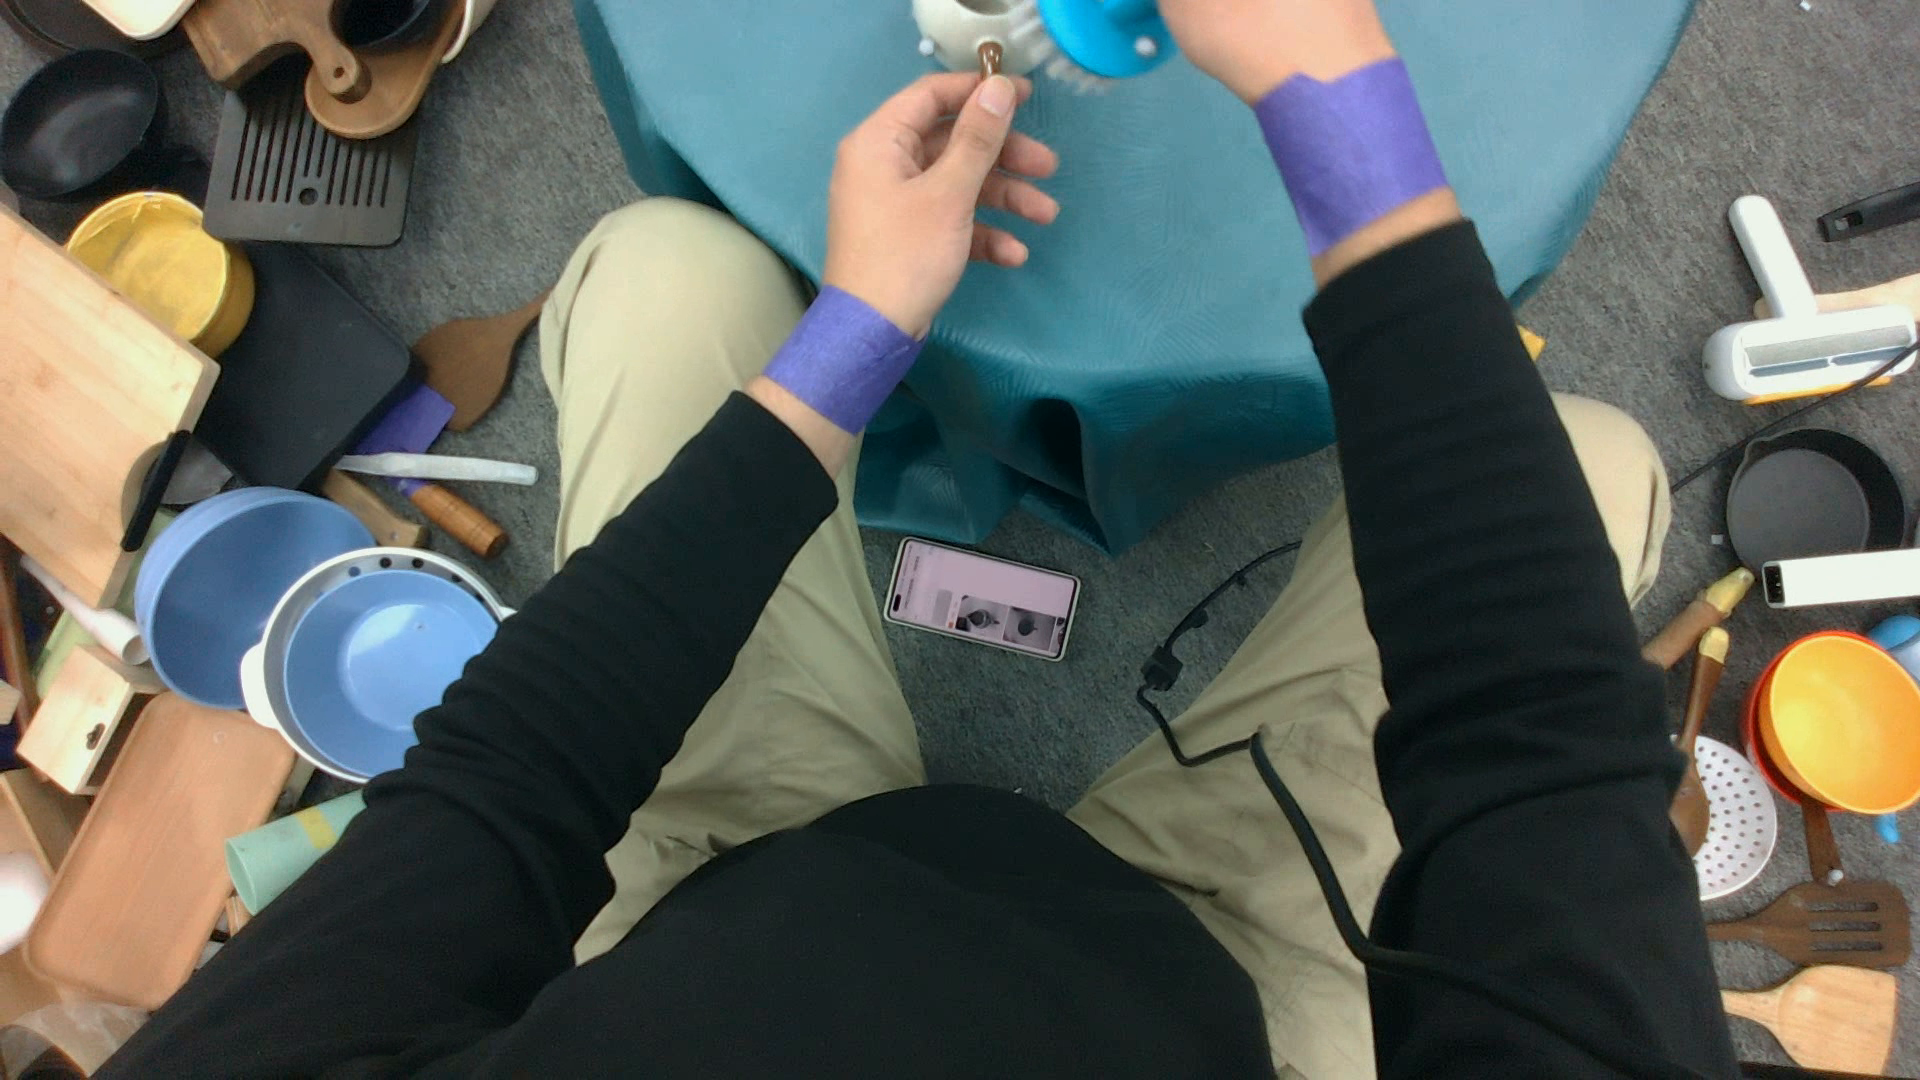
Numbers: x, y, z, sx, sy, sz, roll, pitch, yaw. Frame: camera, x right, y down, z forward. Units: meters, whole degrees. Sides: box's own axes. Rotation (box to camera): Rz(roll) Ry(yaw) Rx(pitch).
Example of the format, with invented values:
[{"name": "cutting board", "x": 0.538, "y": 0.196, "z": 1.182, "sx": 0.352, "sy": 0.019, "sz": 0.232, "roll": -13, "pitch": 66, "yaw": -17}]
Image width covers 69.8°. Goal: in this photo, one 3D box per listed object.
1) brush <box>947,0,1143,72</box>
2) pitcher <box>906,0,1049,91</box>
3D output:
[{"name": "brush", "x": 0.040, "y": -0.263, "z": 0.544, "sx": 0.084, "sy": 0.064, "sz": 0.141, "roll": -9, "pitch": 102, "yaw": -25}, {"name": "pitcher", "x": 0.008, "y": -0.267, "z": 0.663, "sx": 0.076, "sy": 0.088, "sz": 0.119, "roll": 4, "pitch": 82, "yaw": 5}]
